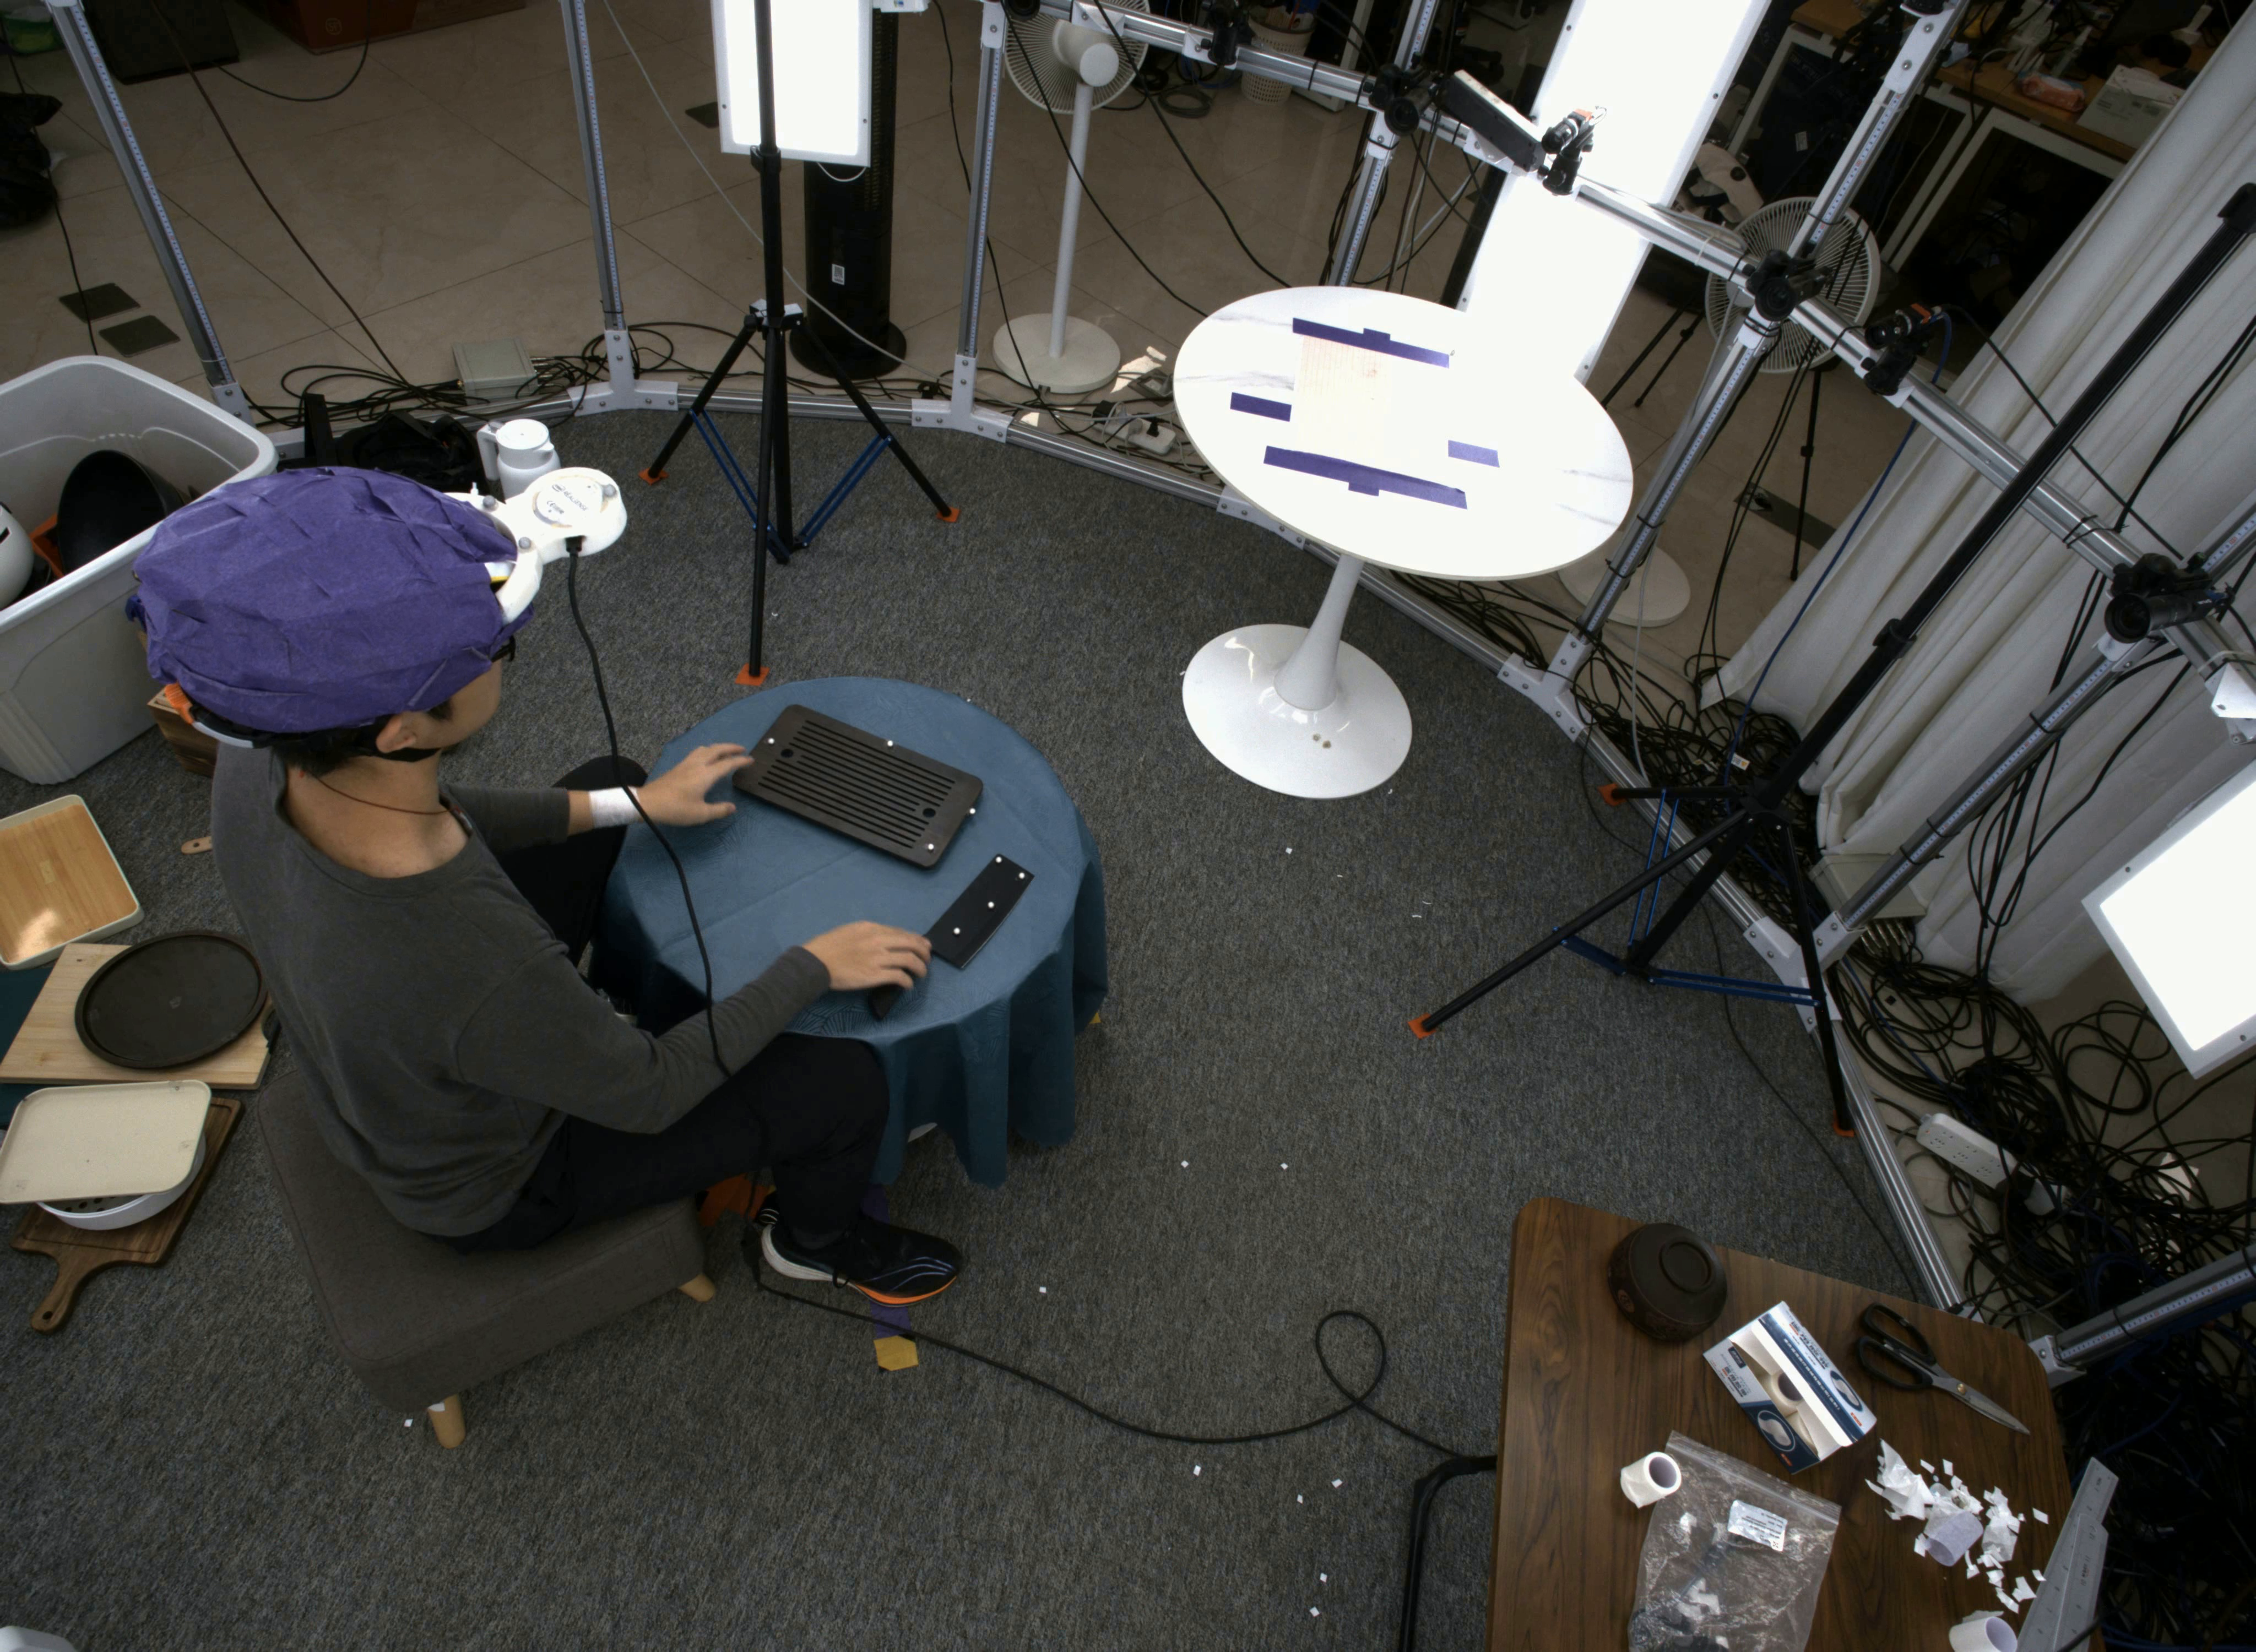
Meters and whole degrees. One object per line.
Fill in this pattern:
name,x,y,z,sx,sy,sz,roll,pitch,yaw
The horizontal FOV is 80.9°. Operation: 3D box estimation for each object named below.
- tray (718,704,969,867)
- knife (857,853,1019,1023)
tray,-0.387,-0.056,1.775,0.302,0.019,0.168,22,53,3
knife,-0.242,0.140,1.669,0.079,0.021,0.302,35,52,10
